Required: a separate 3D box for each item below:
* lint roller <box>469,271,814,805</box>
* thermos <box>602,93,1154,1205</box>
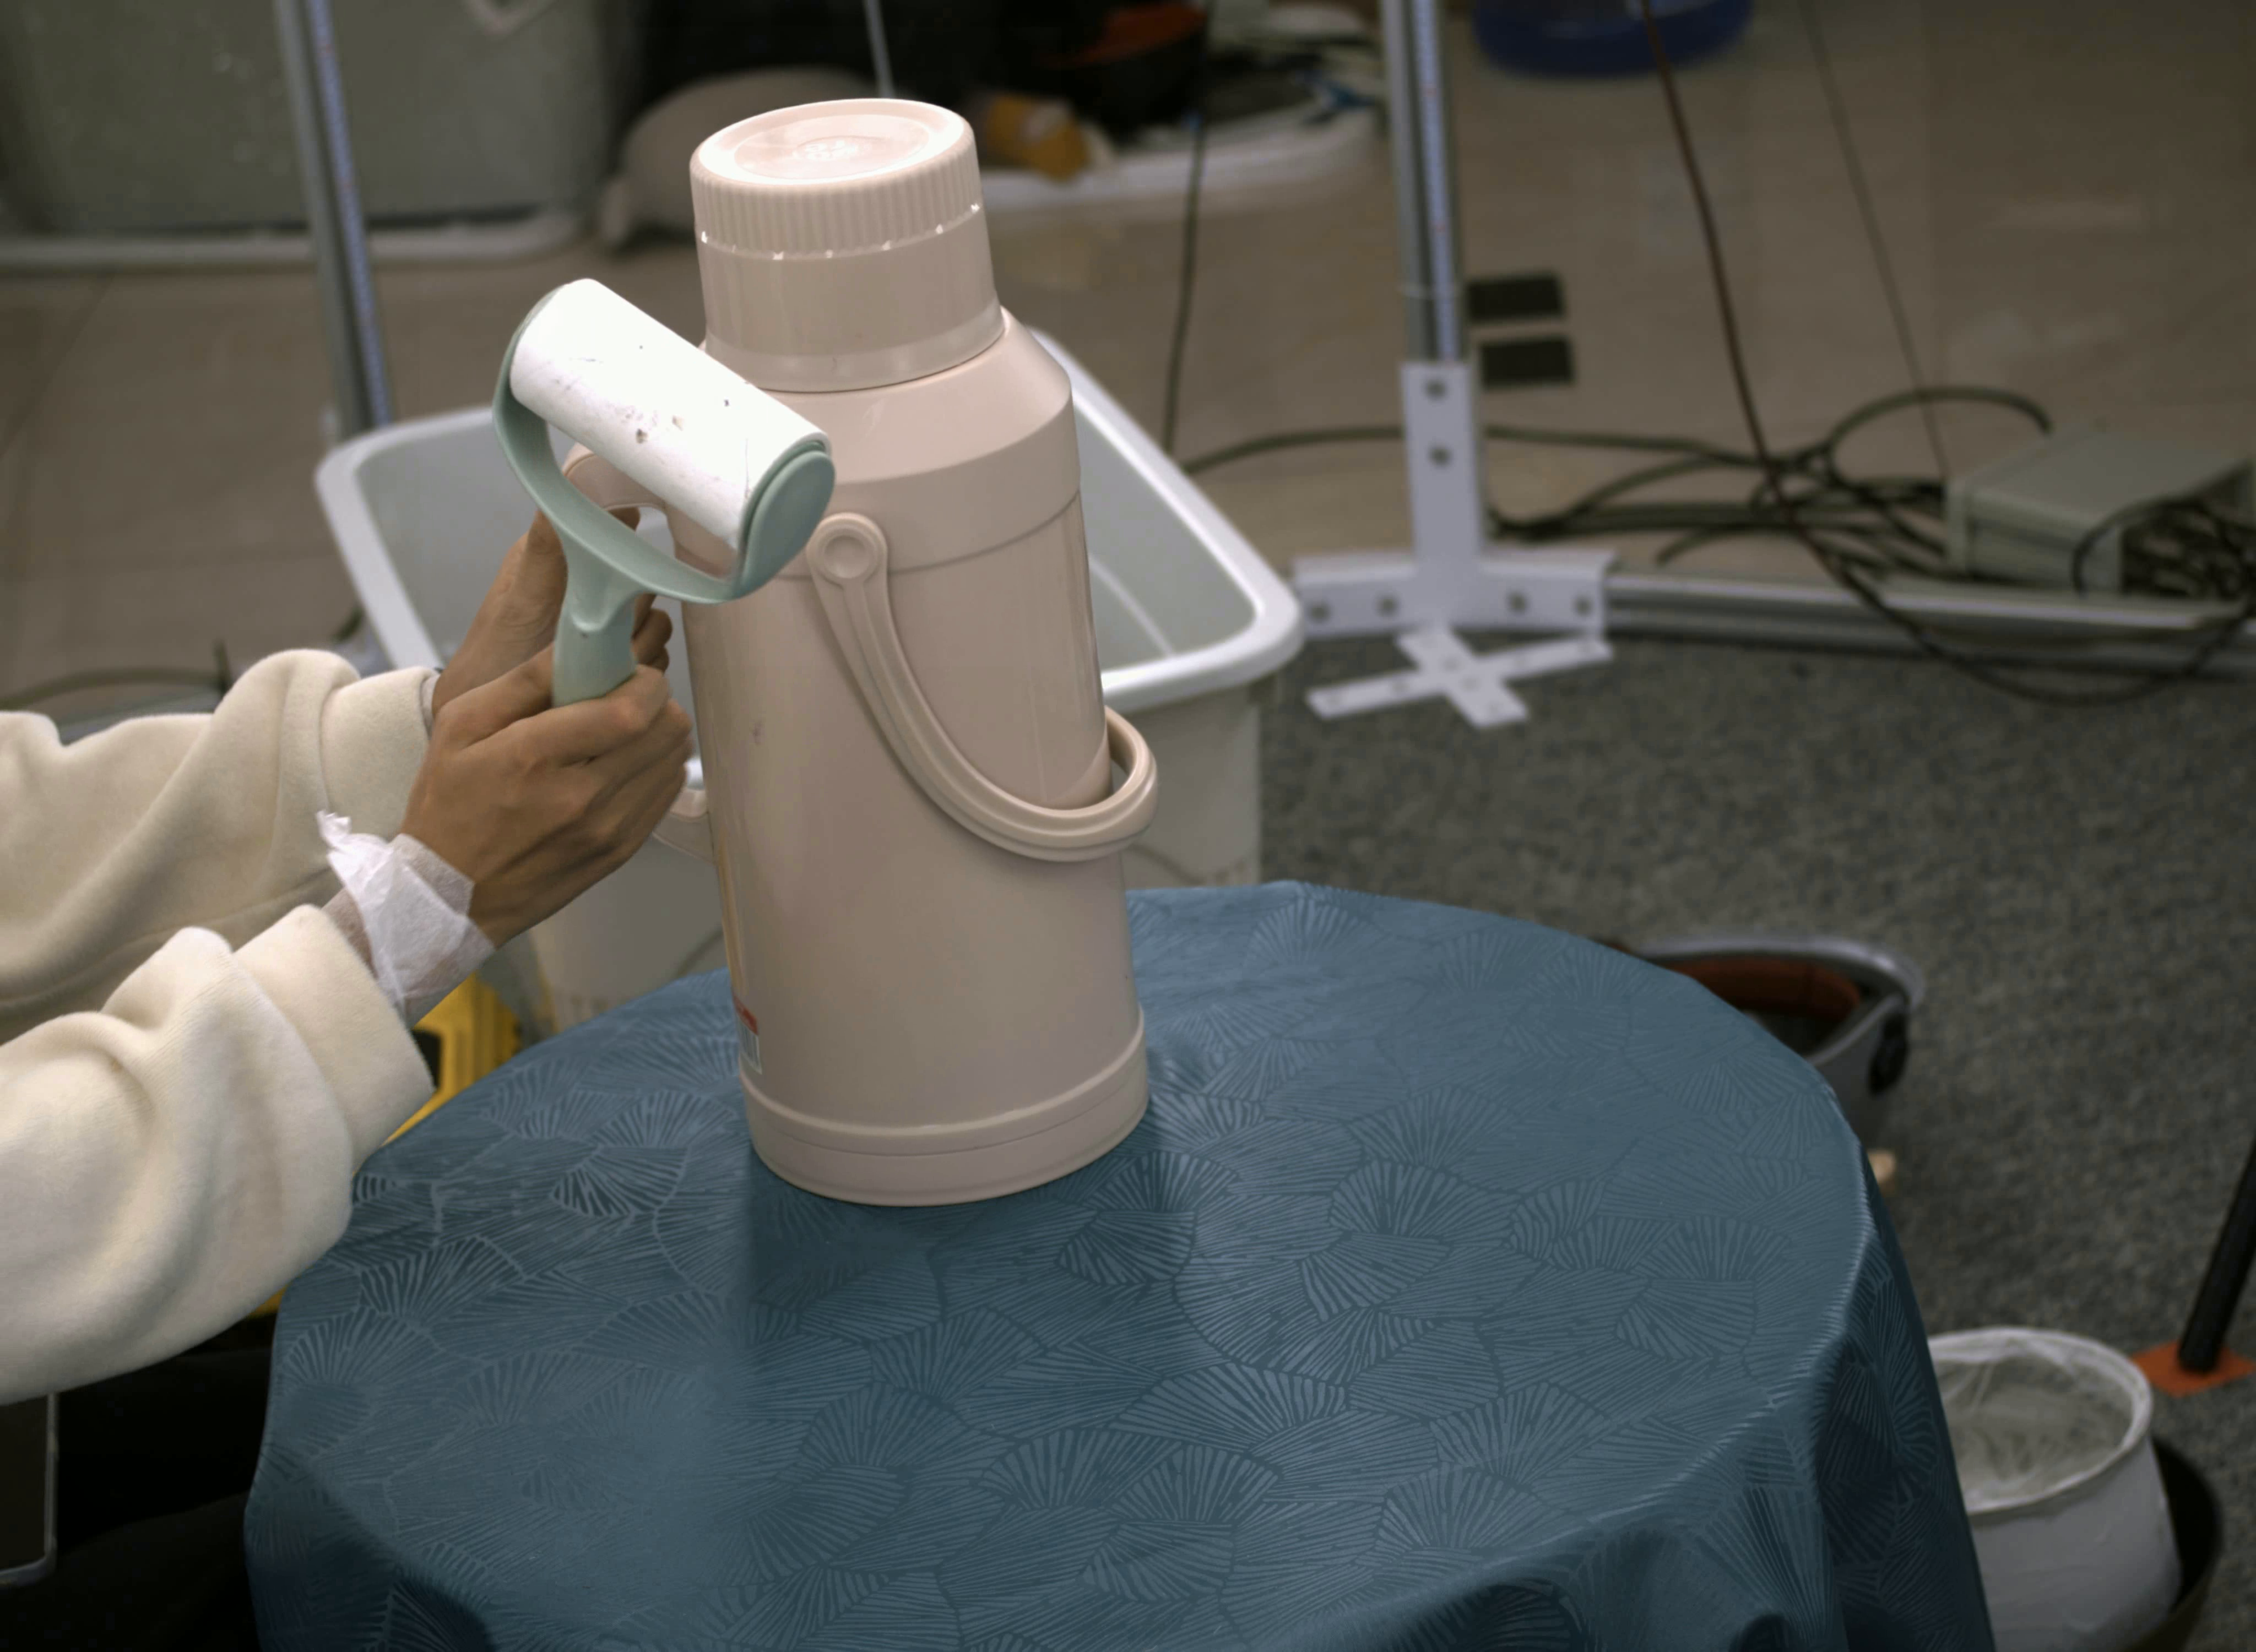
[{"bbox_3d":[-0.178,-0.082,1.894,0.116,0.201,0.048,33,38,16],"label":"lint roller"},{"bbox_3d":[-0.102,-0.067,2.137,0.207,0.413,0.172,-4,26,5],"label":"thermos"}]
